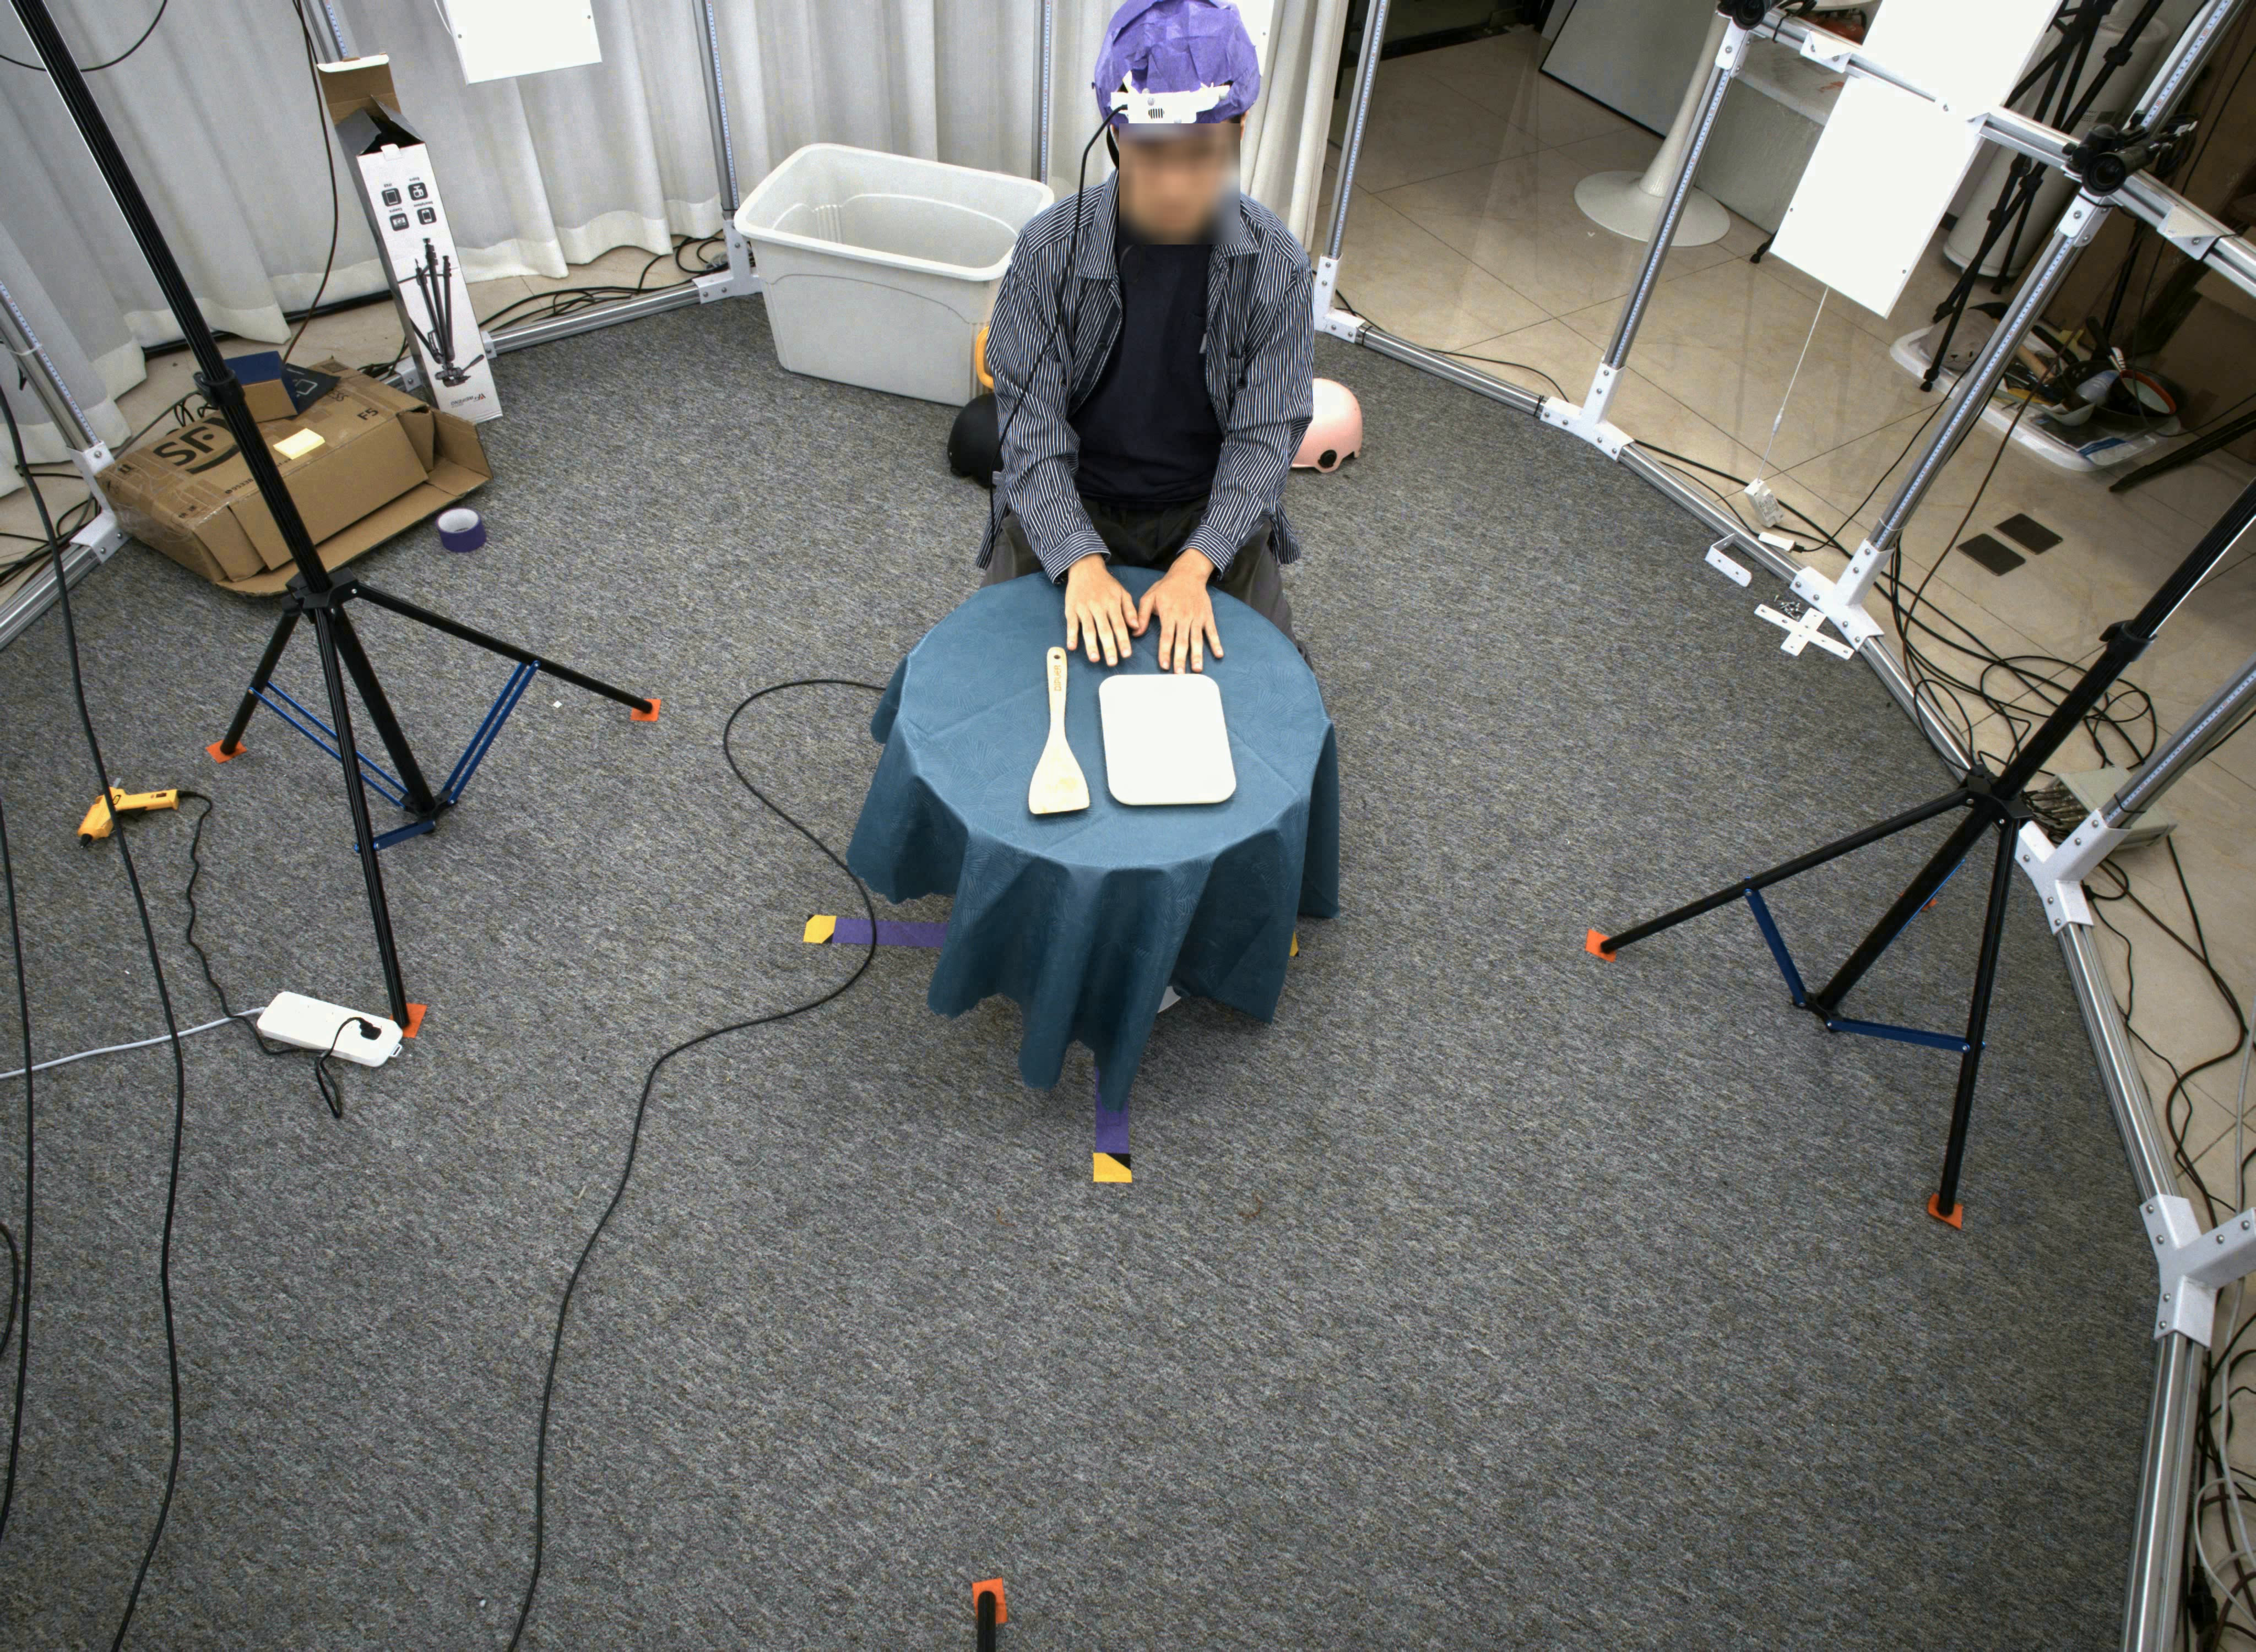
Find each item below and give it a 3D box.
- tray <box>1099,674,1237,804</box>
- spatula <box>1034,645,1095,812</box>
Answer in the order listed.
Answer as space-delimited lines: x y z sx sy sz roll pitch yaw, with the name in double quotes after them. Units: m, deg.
0.051 -0.120 1.756 0.171 0.017 0.246 -1 49 -7 "tray"
-0.094 -0.140 1.762 0.080 0.016 0.336 0 49 -6 "spatula"
